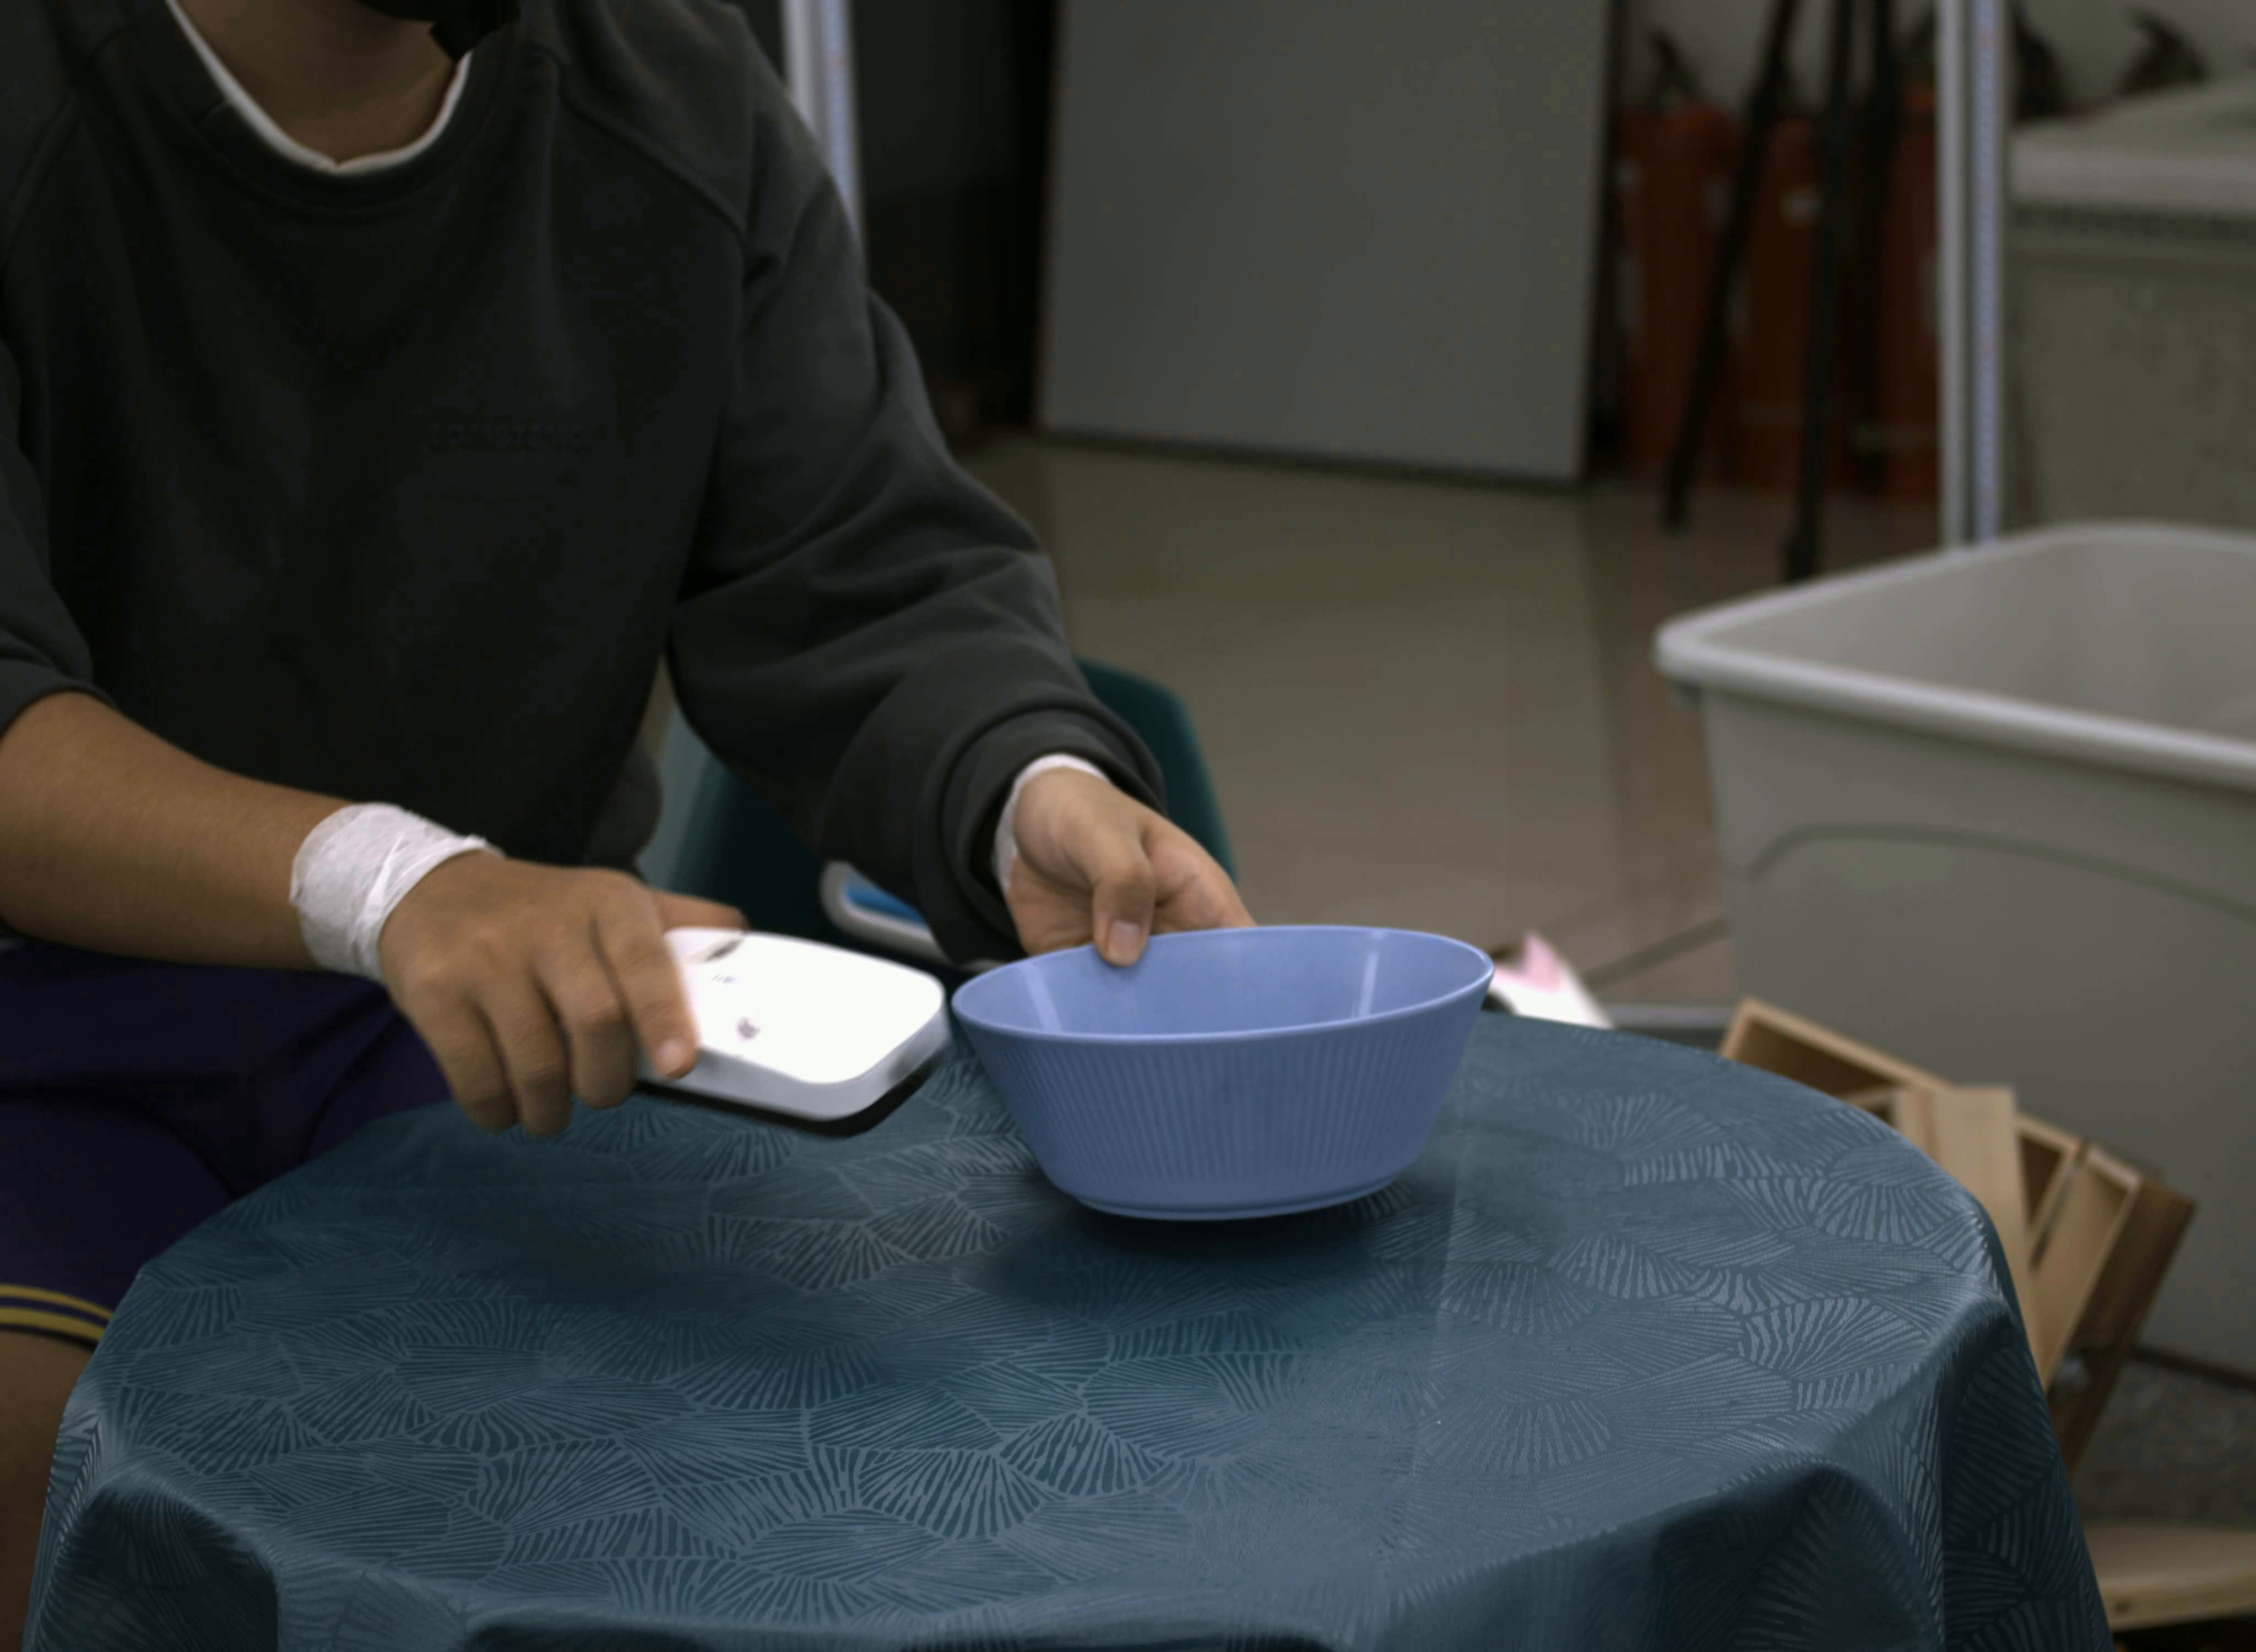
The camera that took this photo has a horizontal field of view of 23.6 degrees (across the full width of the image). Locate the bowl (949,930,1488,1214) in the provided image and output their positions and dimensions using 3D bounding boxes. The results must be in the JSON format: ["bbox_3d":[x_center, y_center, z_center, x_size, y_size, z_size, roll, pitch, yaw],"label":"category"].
[{"bbox_3d":[0.031,0.080,1.731,0.174,0.071,0.176,-4,8,0],"label":"bowl"}]

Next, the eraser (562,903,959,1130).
[{"bbox_3d":[-0.113,0.057,1.680,0.132,0.035,0.062,12,36,39],"label":"eraser"}]
